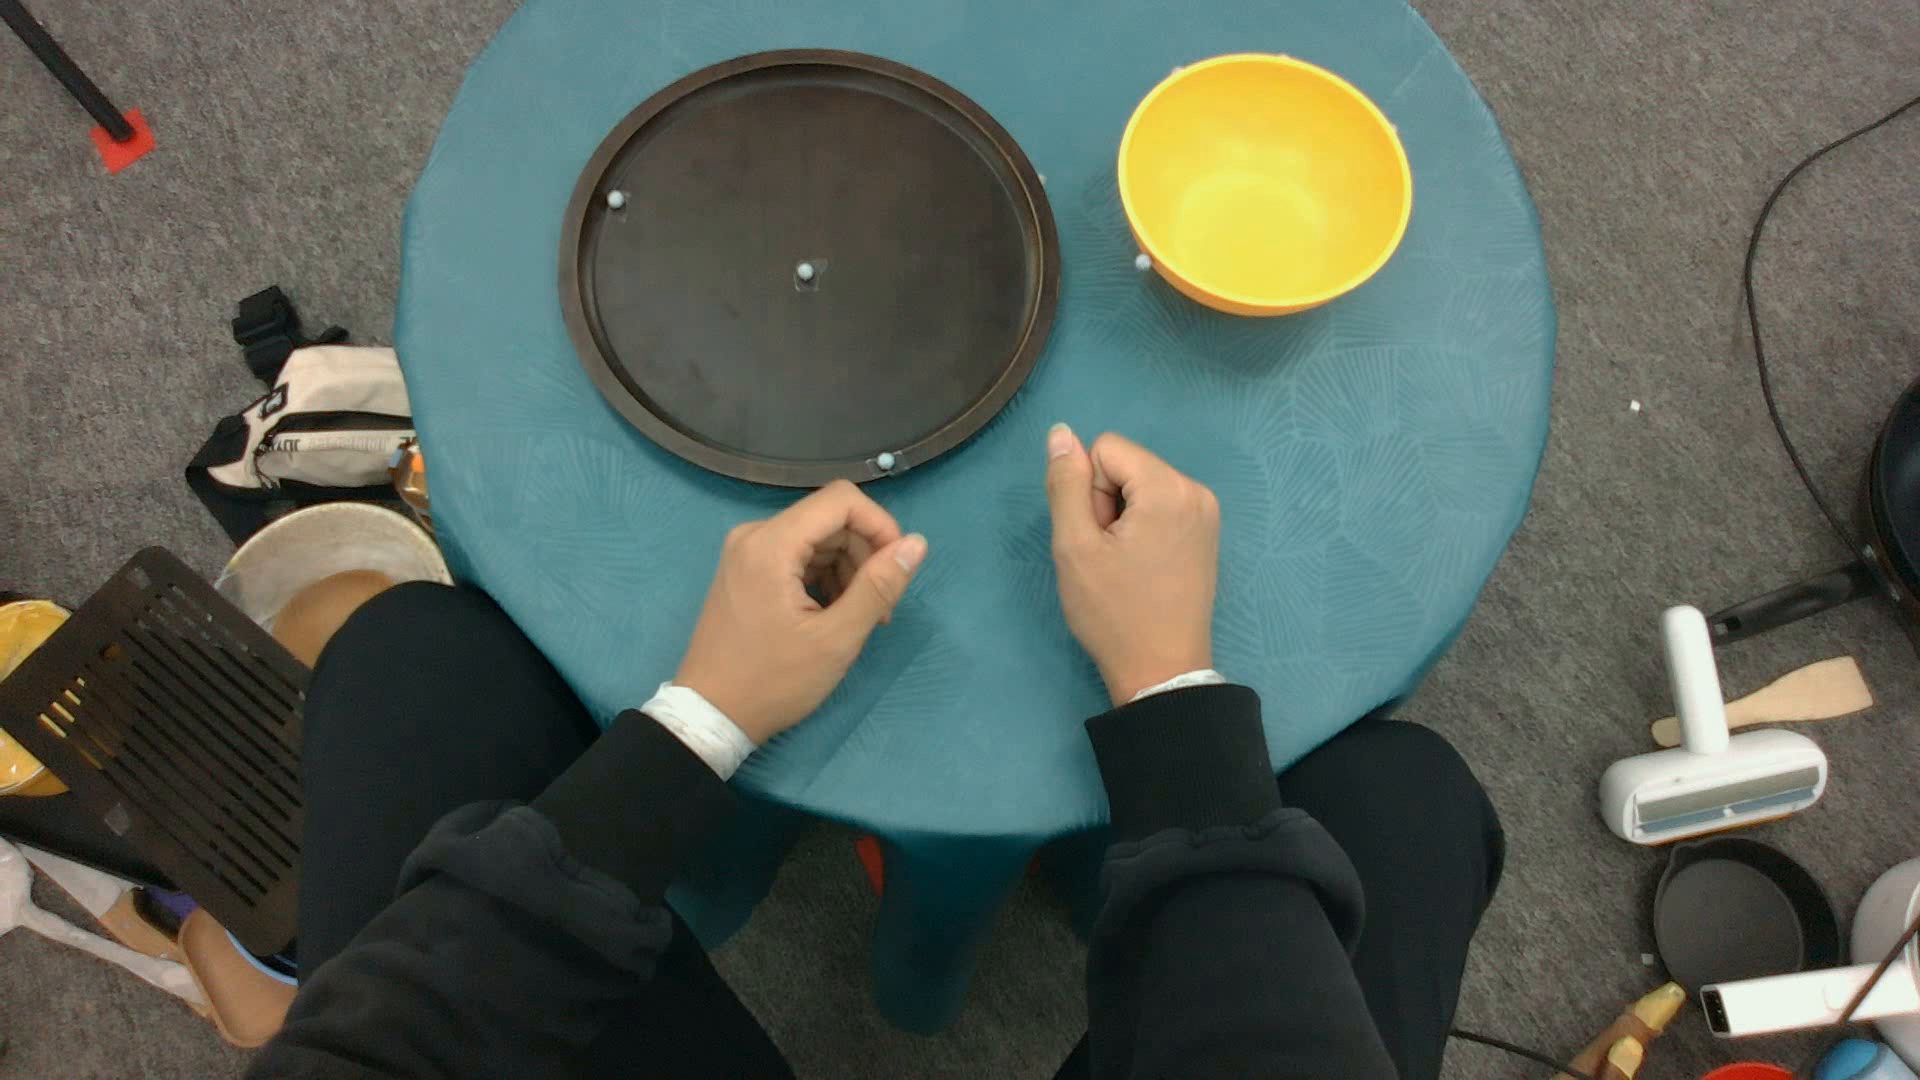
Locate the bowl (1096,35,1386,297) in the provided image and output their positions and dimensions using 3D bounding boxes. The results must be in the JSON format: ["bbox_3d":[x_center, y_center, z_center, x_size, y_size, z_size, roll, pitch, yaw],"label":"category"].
[{"bbox_3d":[0.139,-0.182,0.710,0.145,0.060,0.145,1,73,-2],"label":"bowl"}]

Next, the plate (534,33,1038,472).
[{"bbox_3d":[-0.086,-0.150,0.701,0.255,0.029,0.255,2,71,-5],"label":"plate"}]
